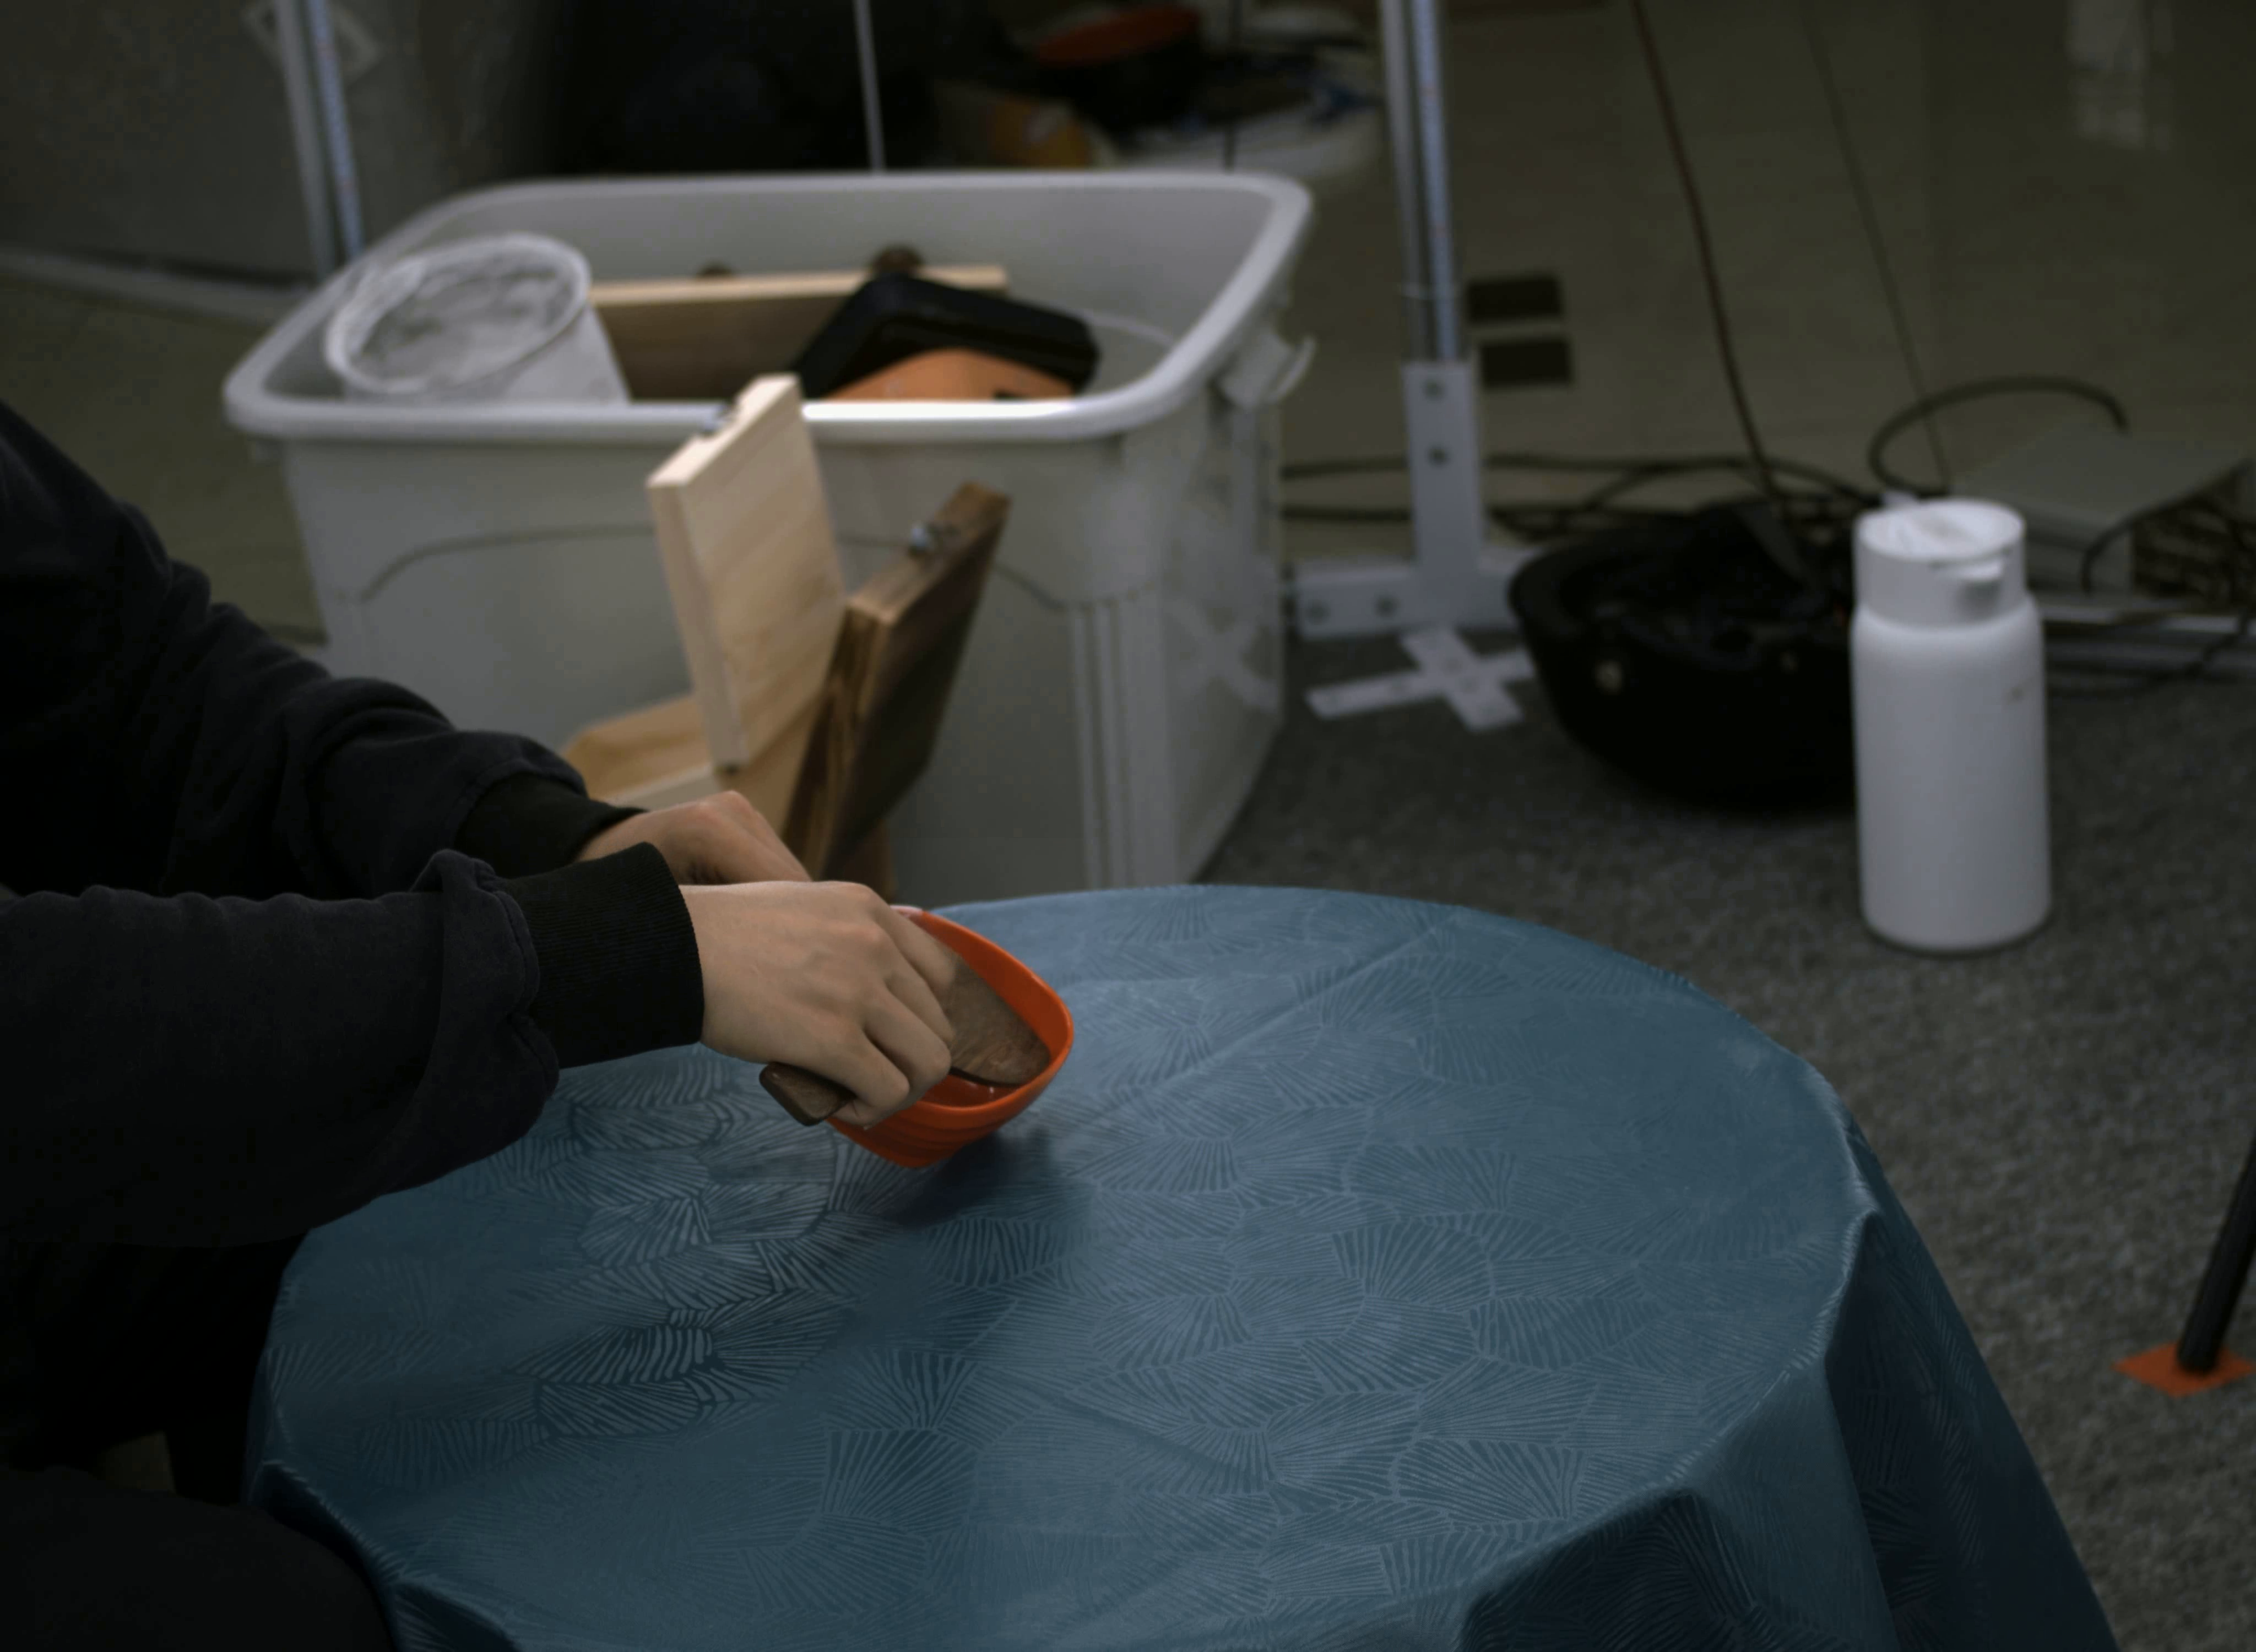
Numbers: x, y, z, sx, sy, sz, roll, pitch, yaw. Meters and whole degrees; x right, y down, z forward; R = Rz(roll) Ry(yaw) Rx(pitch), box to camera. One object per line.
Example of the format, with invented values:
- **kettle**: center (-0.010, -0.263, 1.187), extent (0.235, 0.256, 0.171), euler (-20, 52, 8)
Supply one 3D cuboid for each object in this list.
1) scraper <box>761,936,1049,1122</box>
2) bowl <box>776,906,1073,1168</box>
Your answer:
- **scraper**: center (-0.089, 0.083, 2.113), extent (0.075, 0.011, 0.210), euler (45, 19, 8)
- **bowl**: center (-0.084, 0.089, 2.193), extent (0.119, 0.052, 0.117), euler (15, 37, -11)
